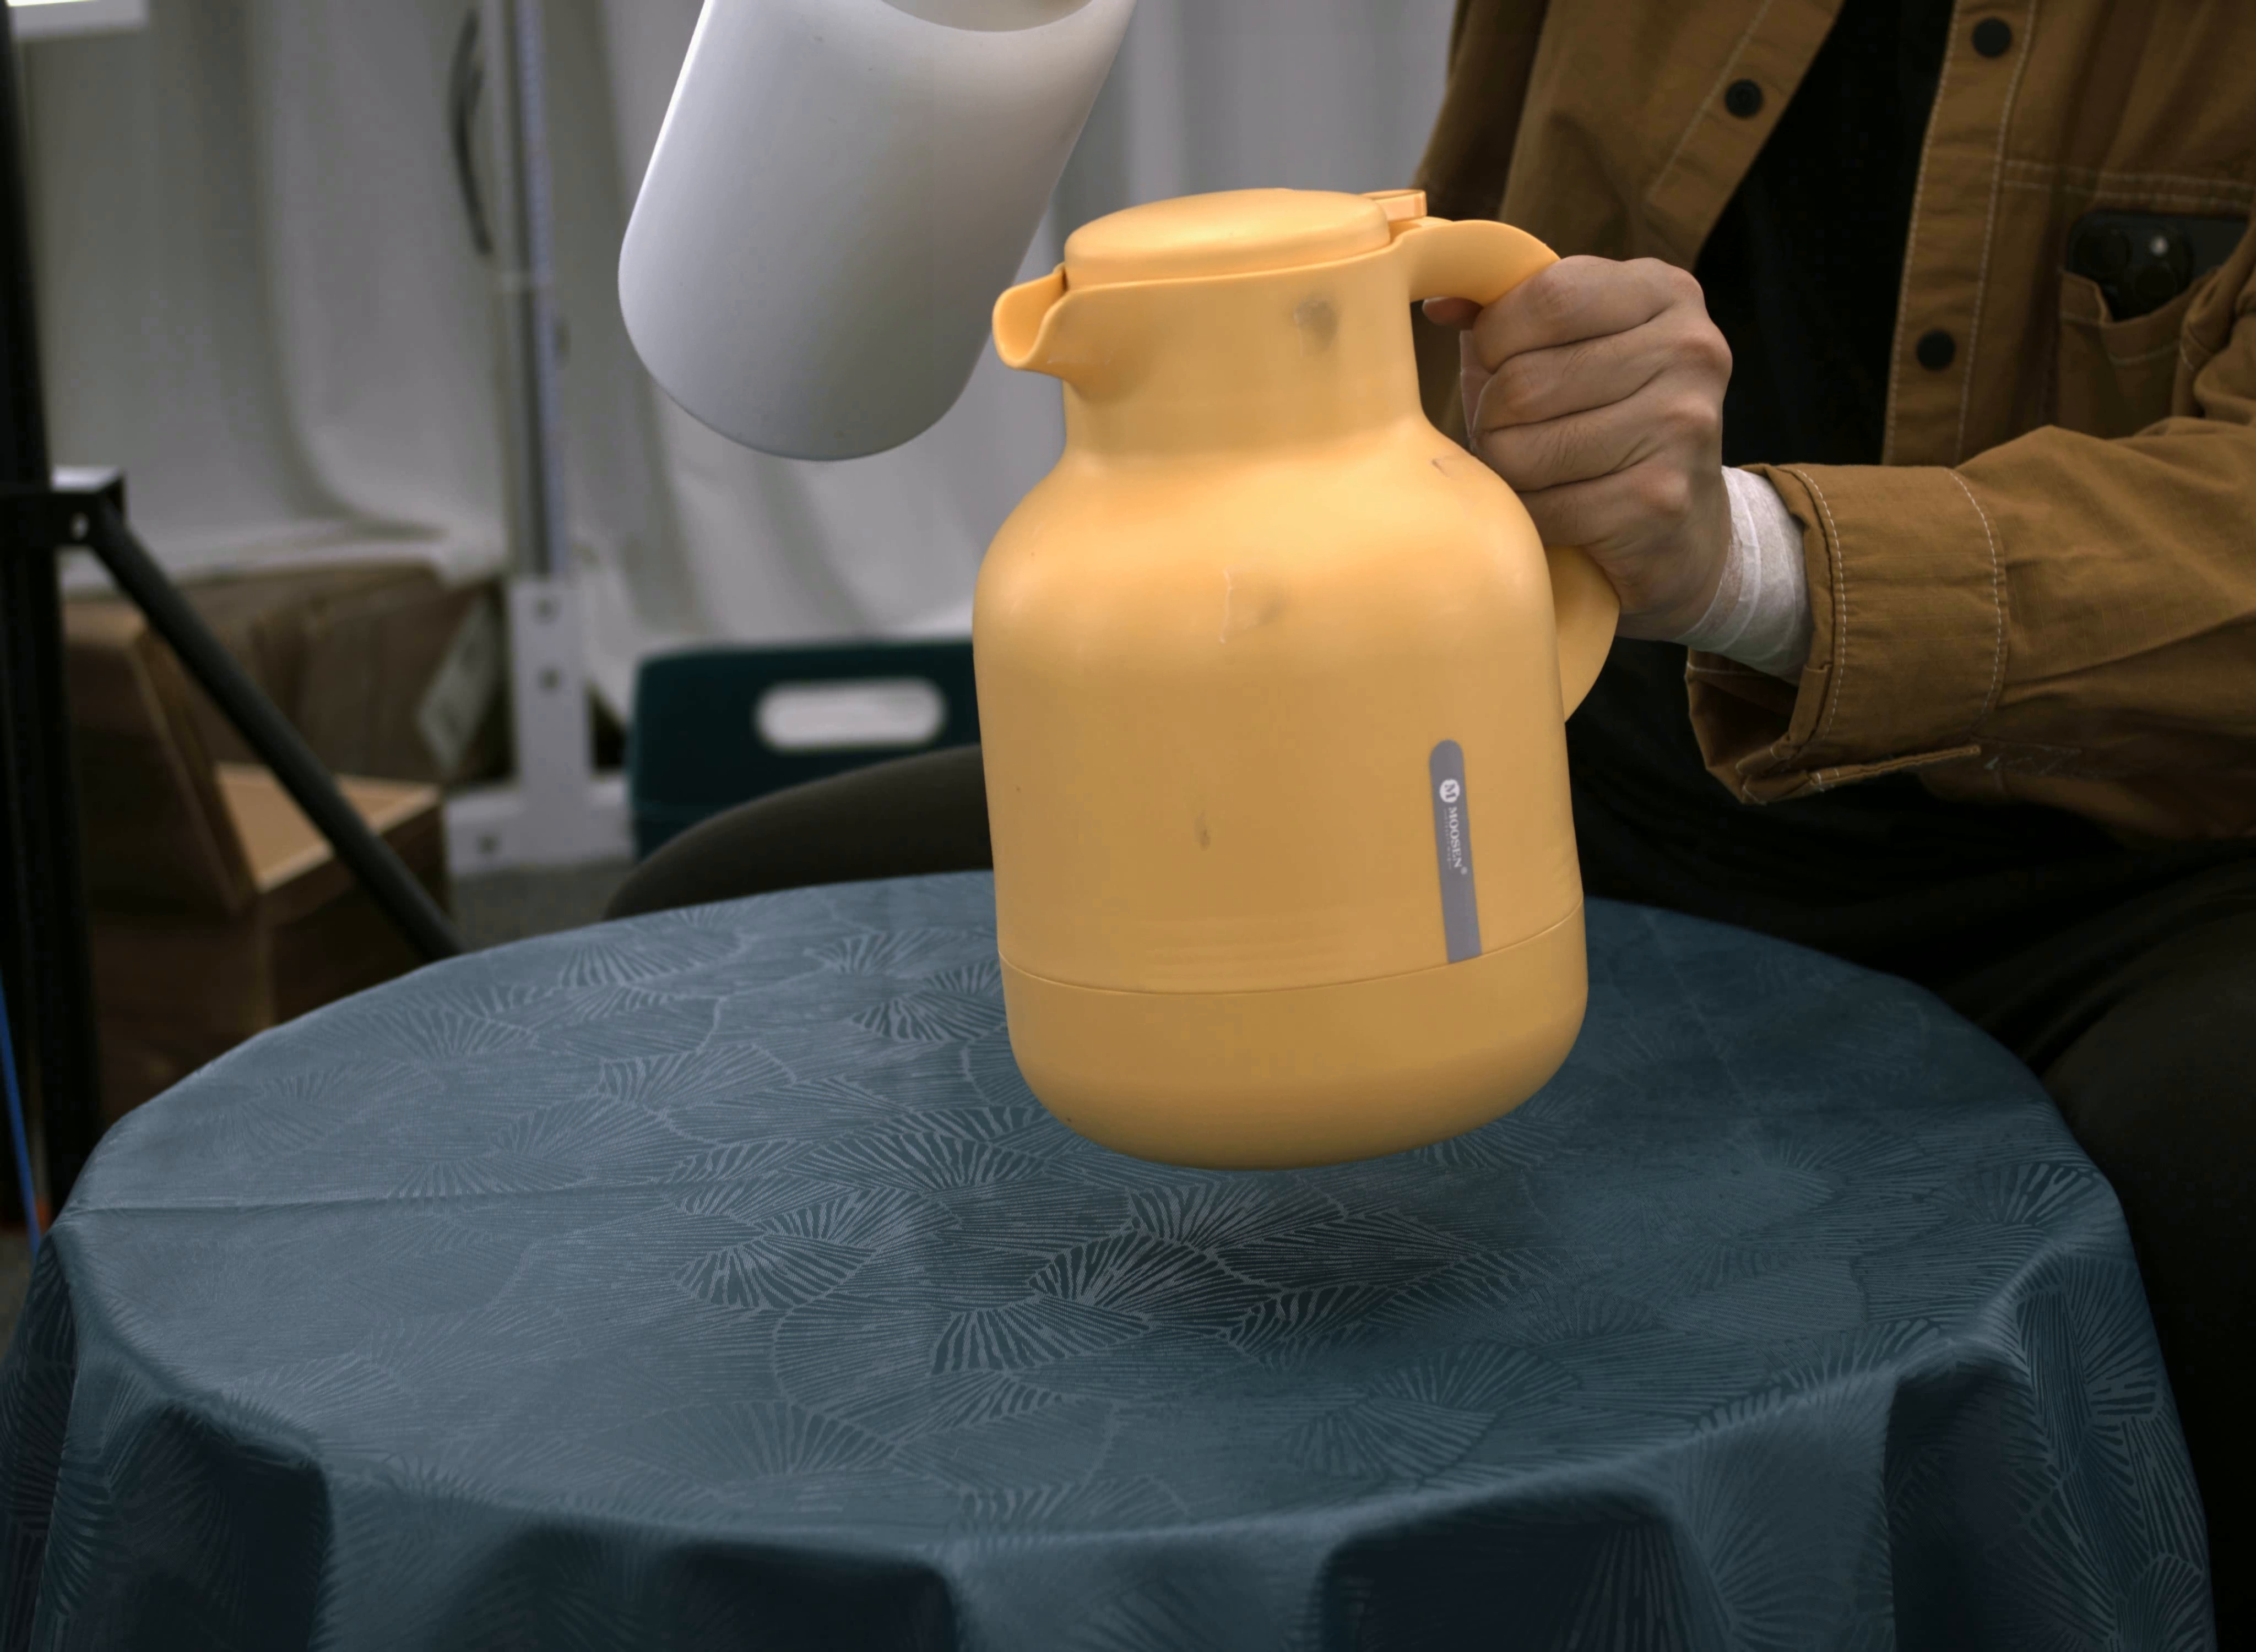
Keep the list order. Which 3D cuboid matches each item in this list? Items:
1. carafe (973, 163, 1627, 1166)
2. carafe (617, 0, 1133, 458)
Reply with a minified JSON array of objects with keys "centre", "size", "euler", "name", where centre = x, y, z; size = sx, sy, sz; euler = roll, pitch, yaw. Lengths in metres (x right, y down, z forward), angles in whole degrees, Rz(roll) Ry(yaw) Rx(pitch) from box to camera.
[{"centre":[0.056,-0.051,1.464],"size":[0.198,0.260,0.167],"euler":[-15,17,-29],"name":"carafe"},{"centre":[-0.081,-0.239,1.583],"size":[0.122,0.175,0.269],"euler":[-27,-18,-27],"name":"carafe"}]
